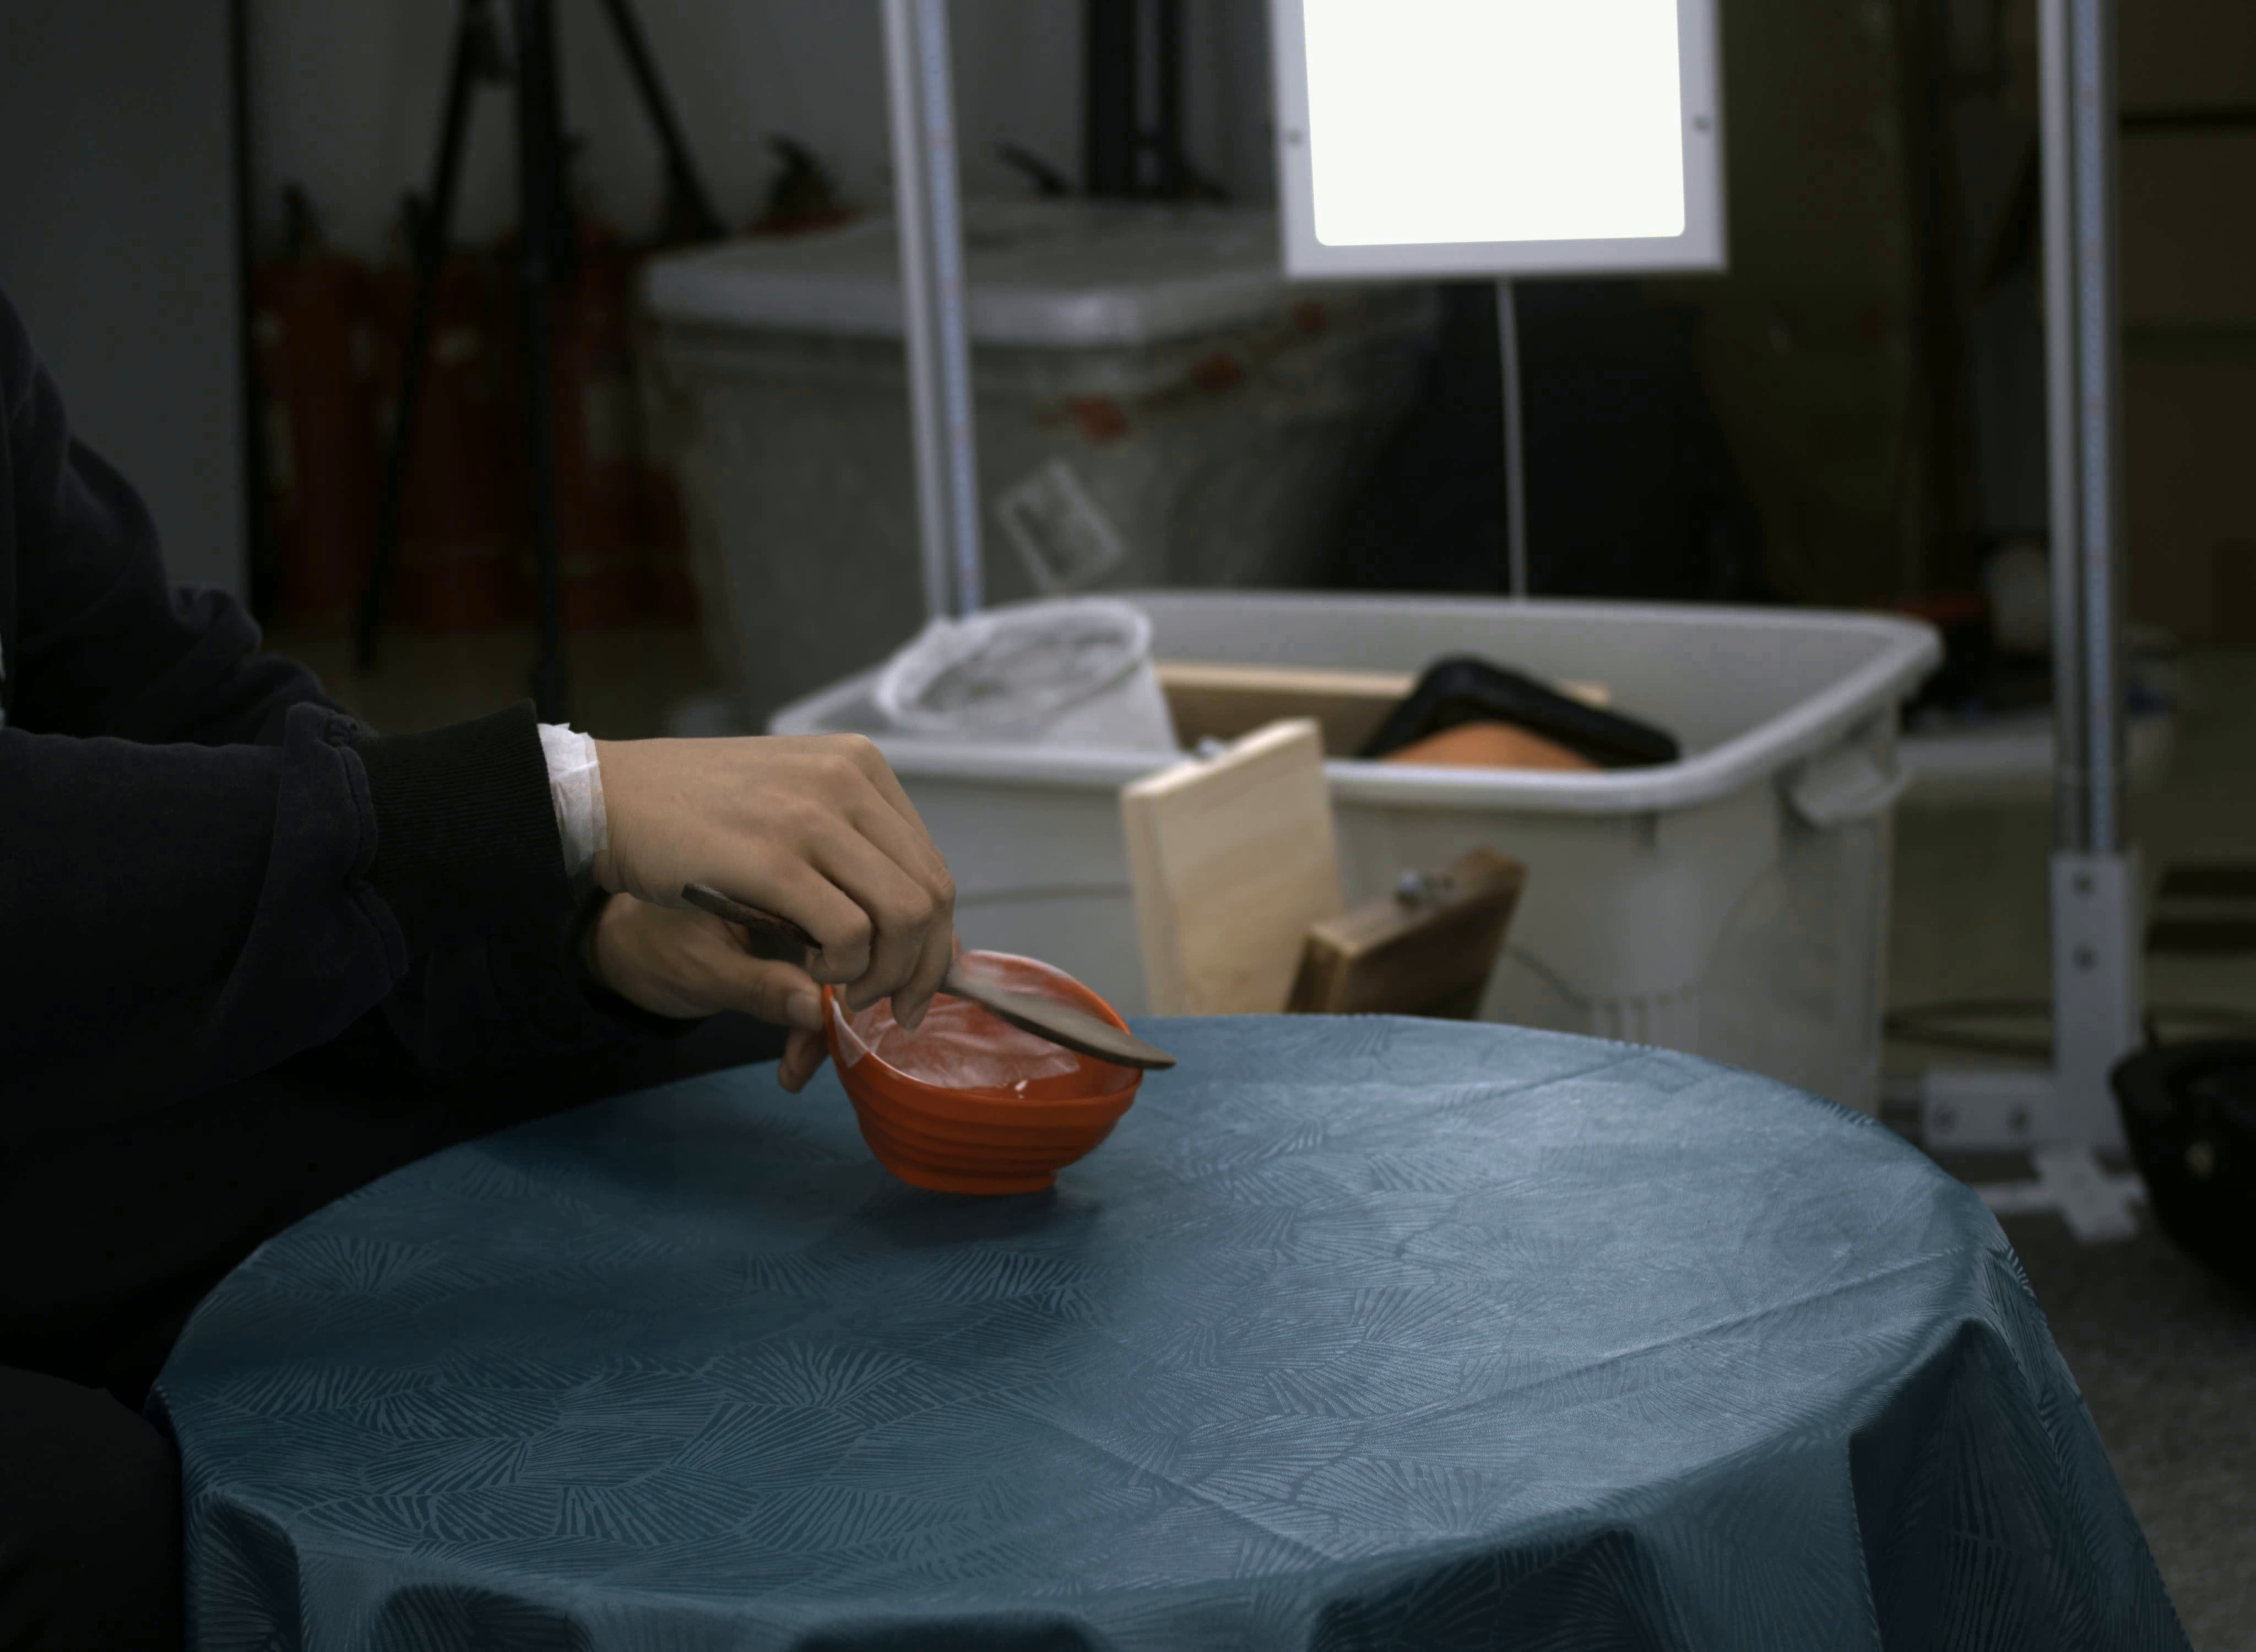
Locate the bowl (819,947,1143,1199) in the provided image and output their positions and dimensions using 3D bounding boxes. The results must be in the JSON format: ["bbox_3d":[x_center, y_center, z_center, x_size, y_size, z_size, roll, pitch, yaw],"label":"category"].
[{"bbox_3d":[-0.056,0.090,1.914,0.118,0.052,0.118,11,26,-7],"label":"bowl"}]

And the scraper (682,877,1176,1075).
[{"bbox_3d":[-0.070,0.049,1.843,0.206,0.011,0.077,23,3,-45],"label":"scraper"}]
